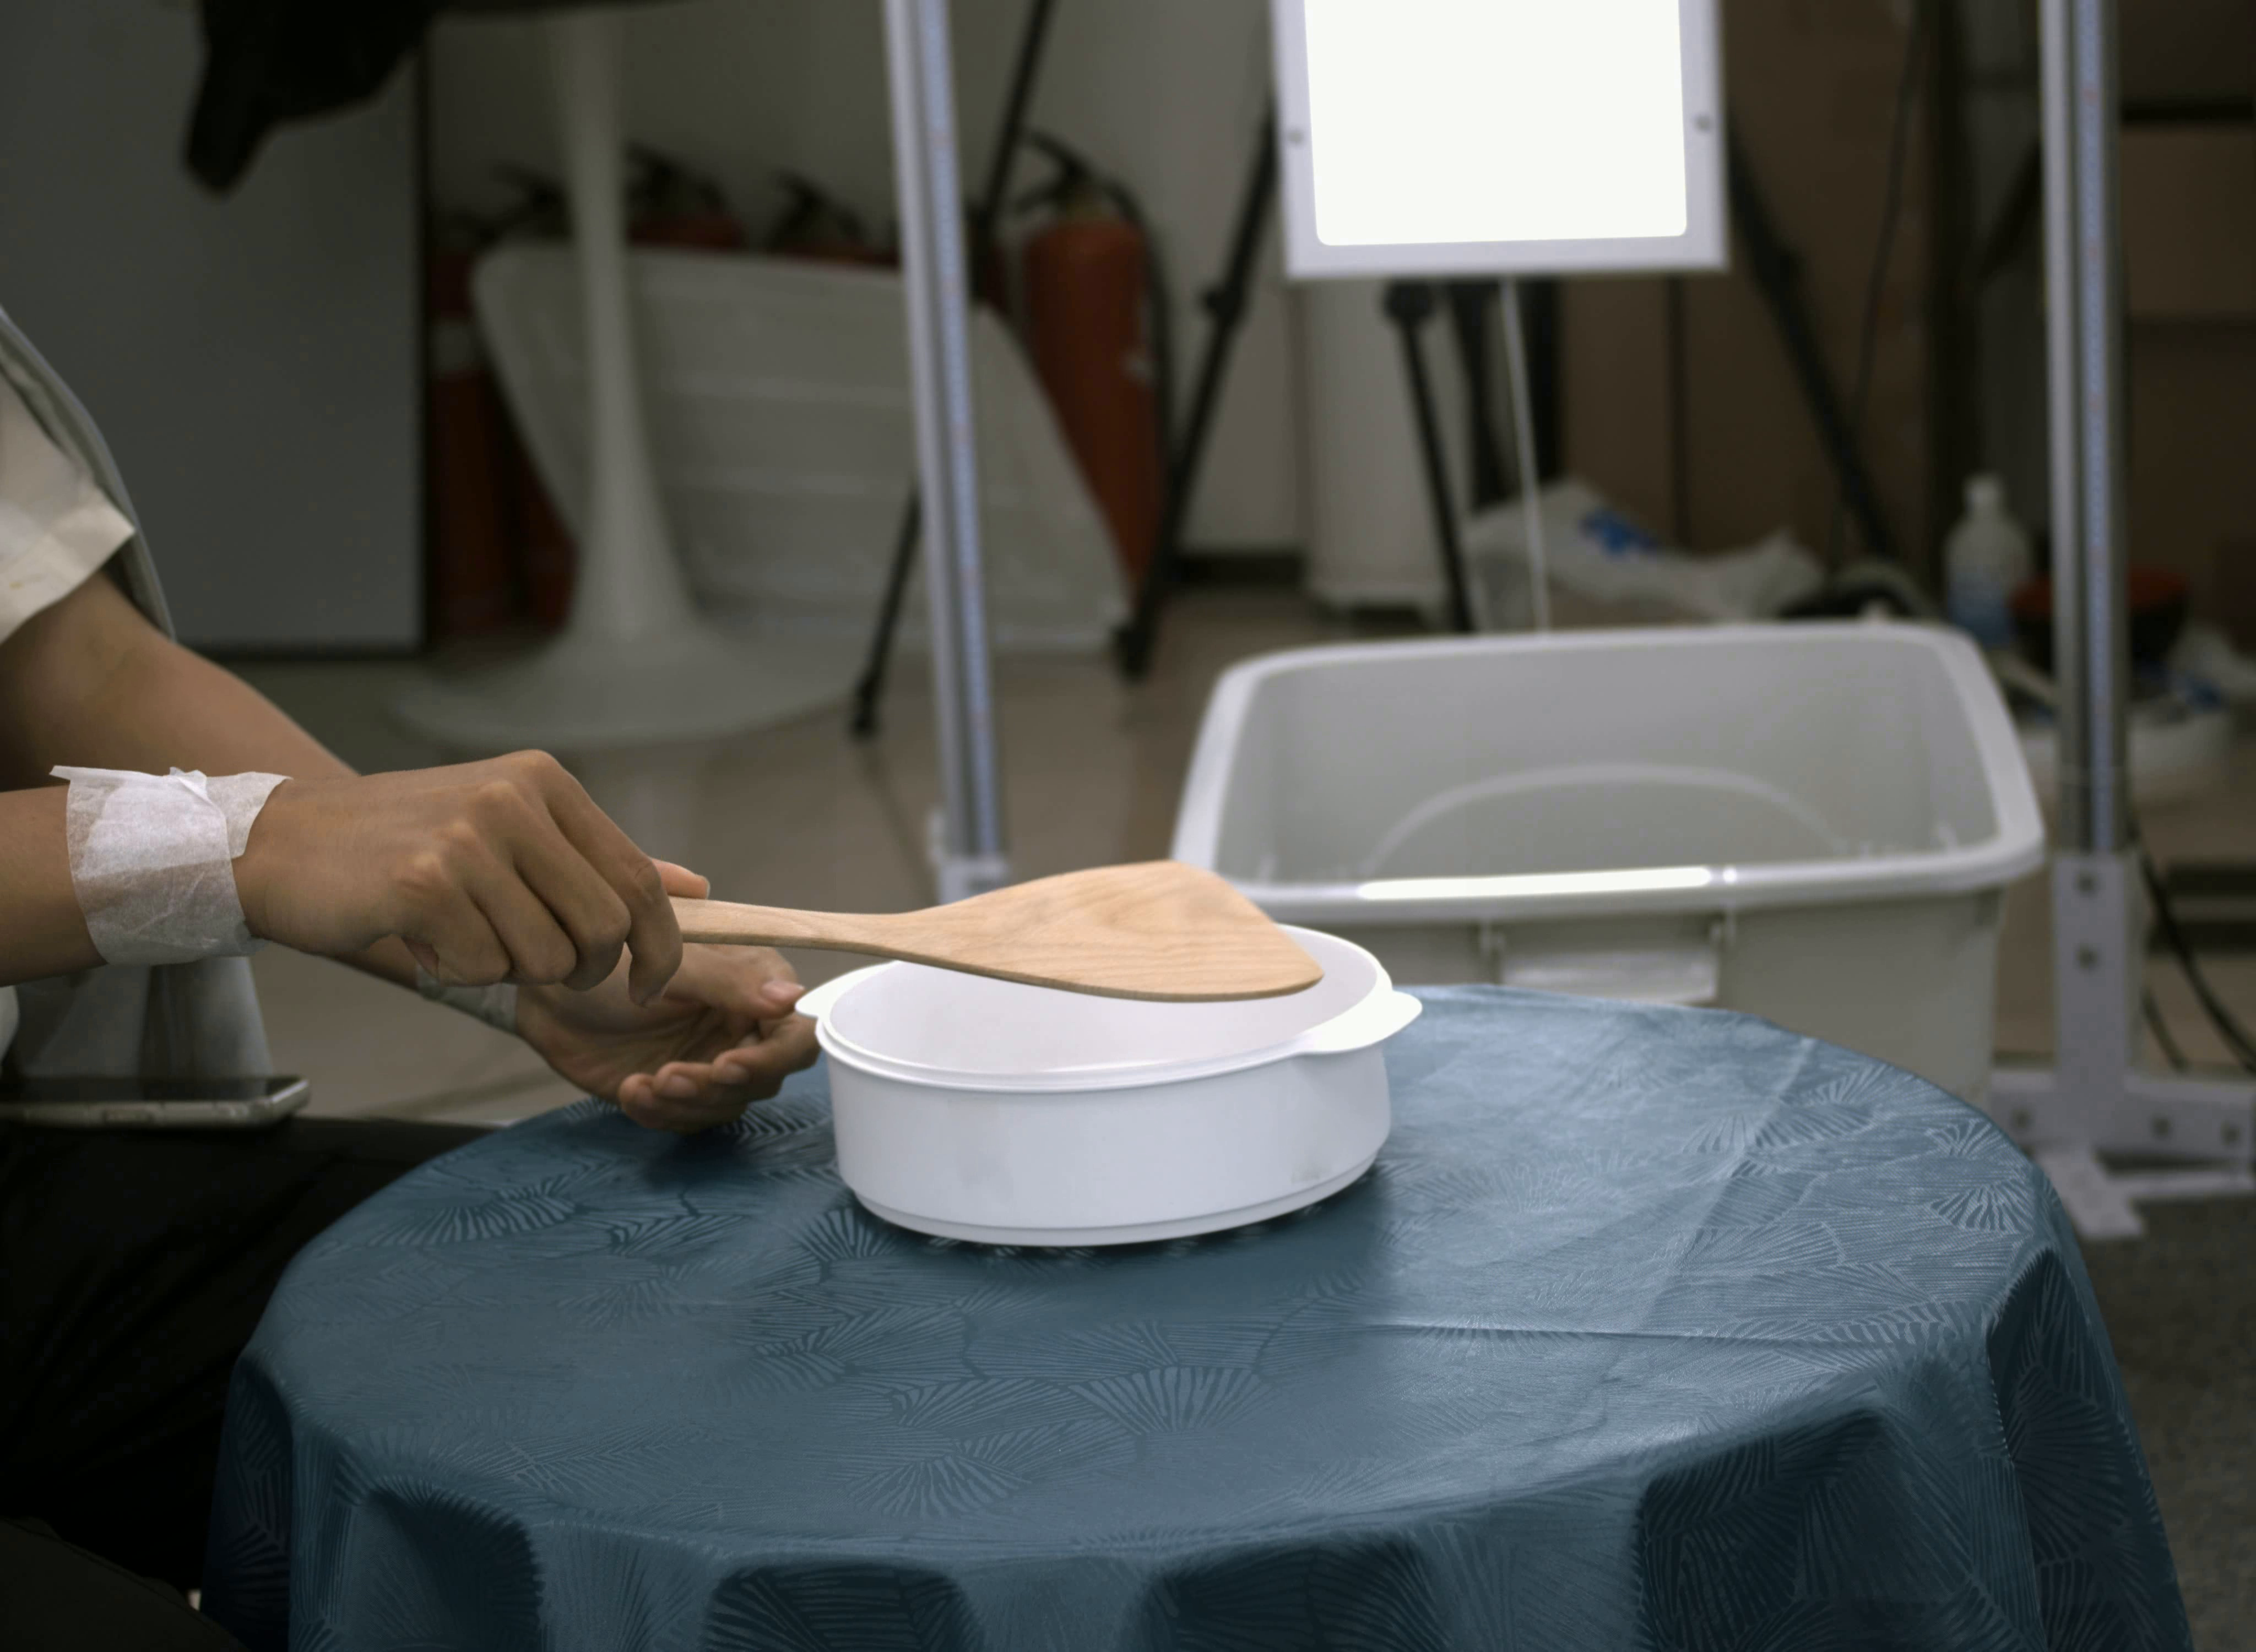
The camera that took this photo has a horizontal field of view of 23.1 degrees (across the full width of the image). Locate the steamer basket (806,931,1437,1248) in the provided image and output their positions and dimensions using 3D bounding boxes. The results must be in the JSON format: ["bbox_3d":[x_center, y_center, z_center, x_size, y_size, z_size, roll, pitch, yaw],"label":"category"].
[{"bbox_3d":[-0.002,0.091,1.907,0.235,0.069,0.197,2,14,30],"label":"steamer basket"}]

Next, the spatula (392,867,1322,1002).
[{"bbox_3d":[-0.088,0.030,1.779,0.320,0.017,0.081,3,28,-31],"label":"spatula"}]
